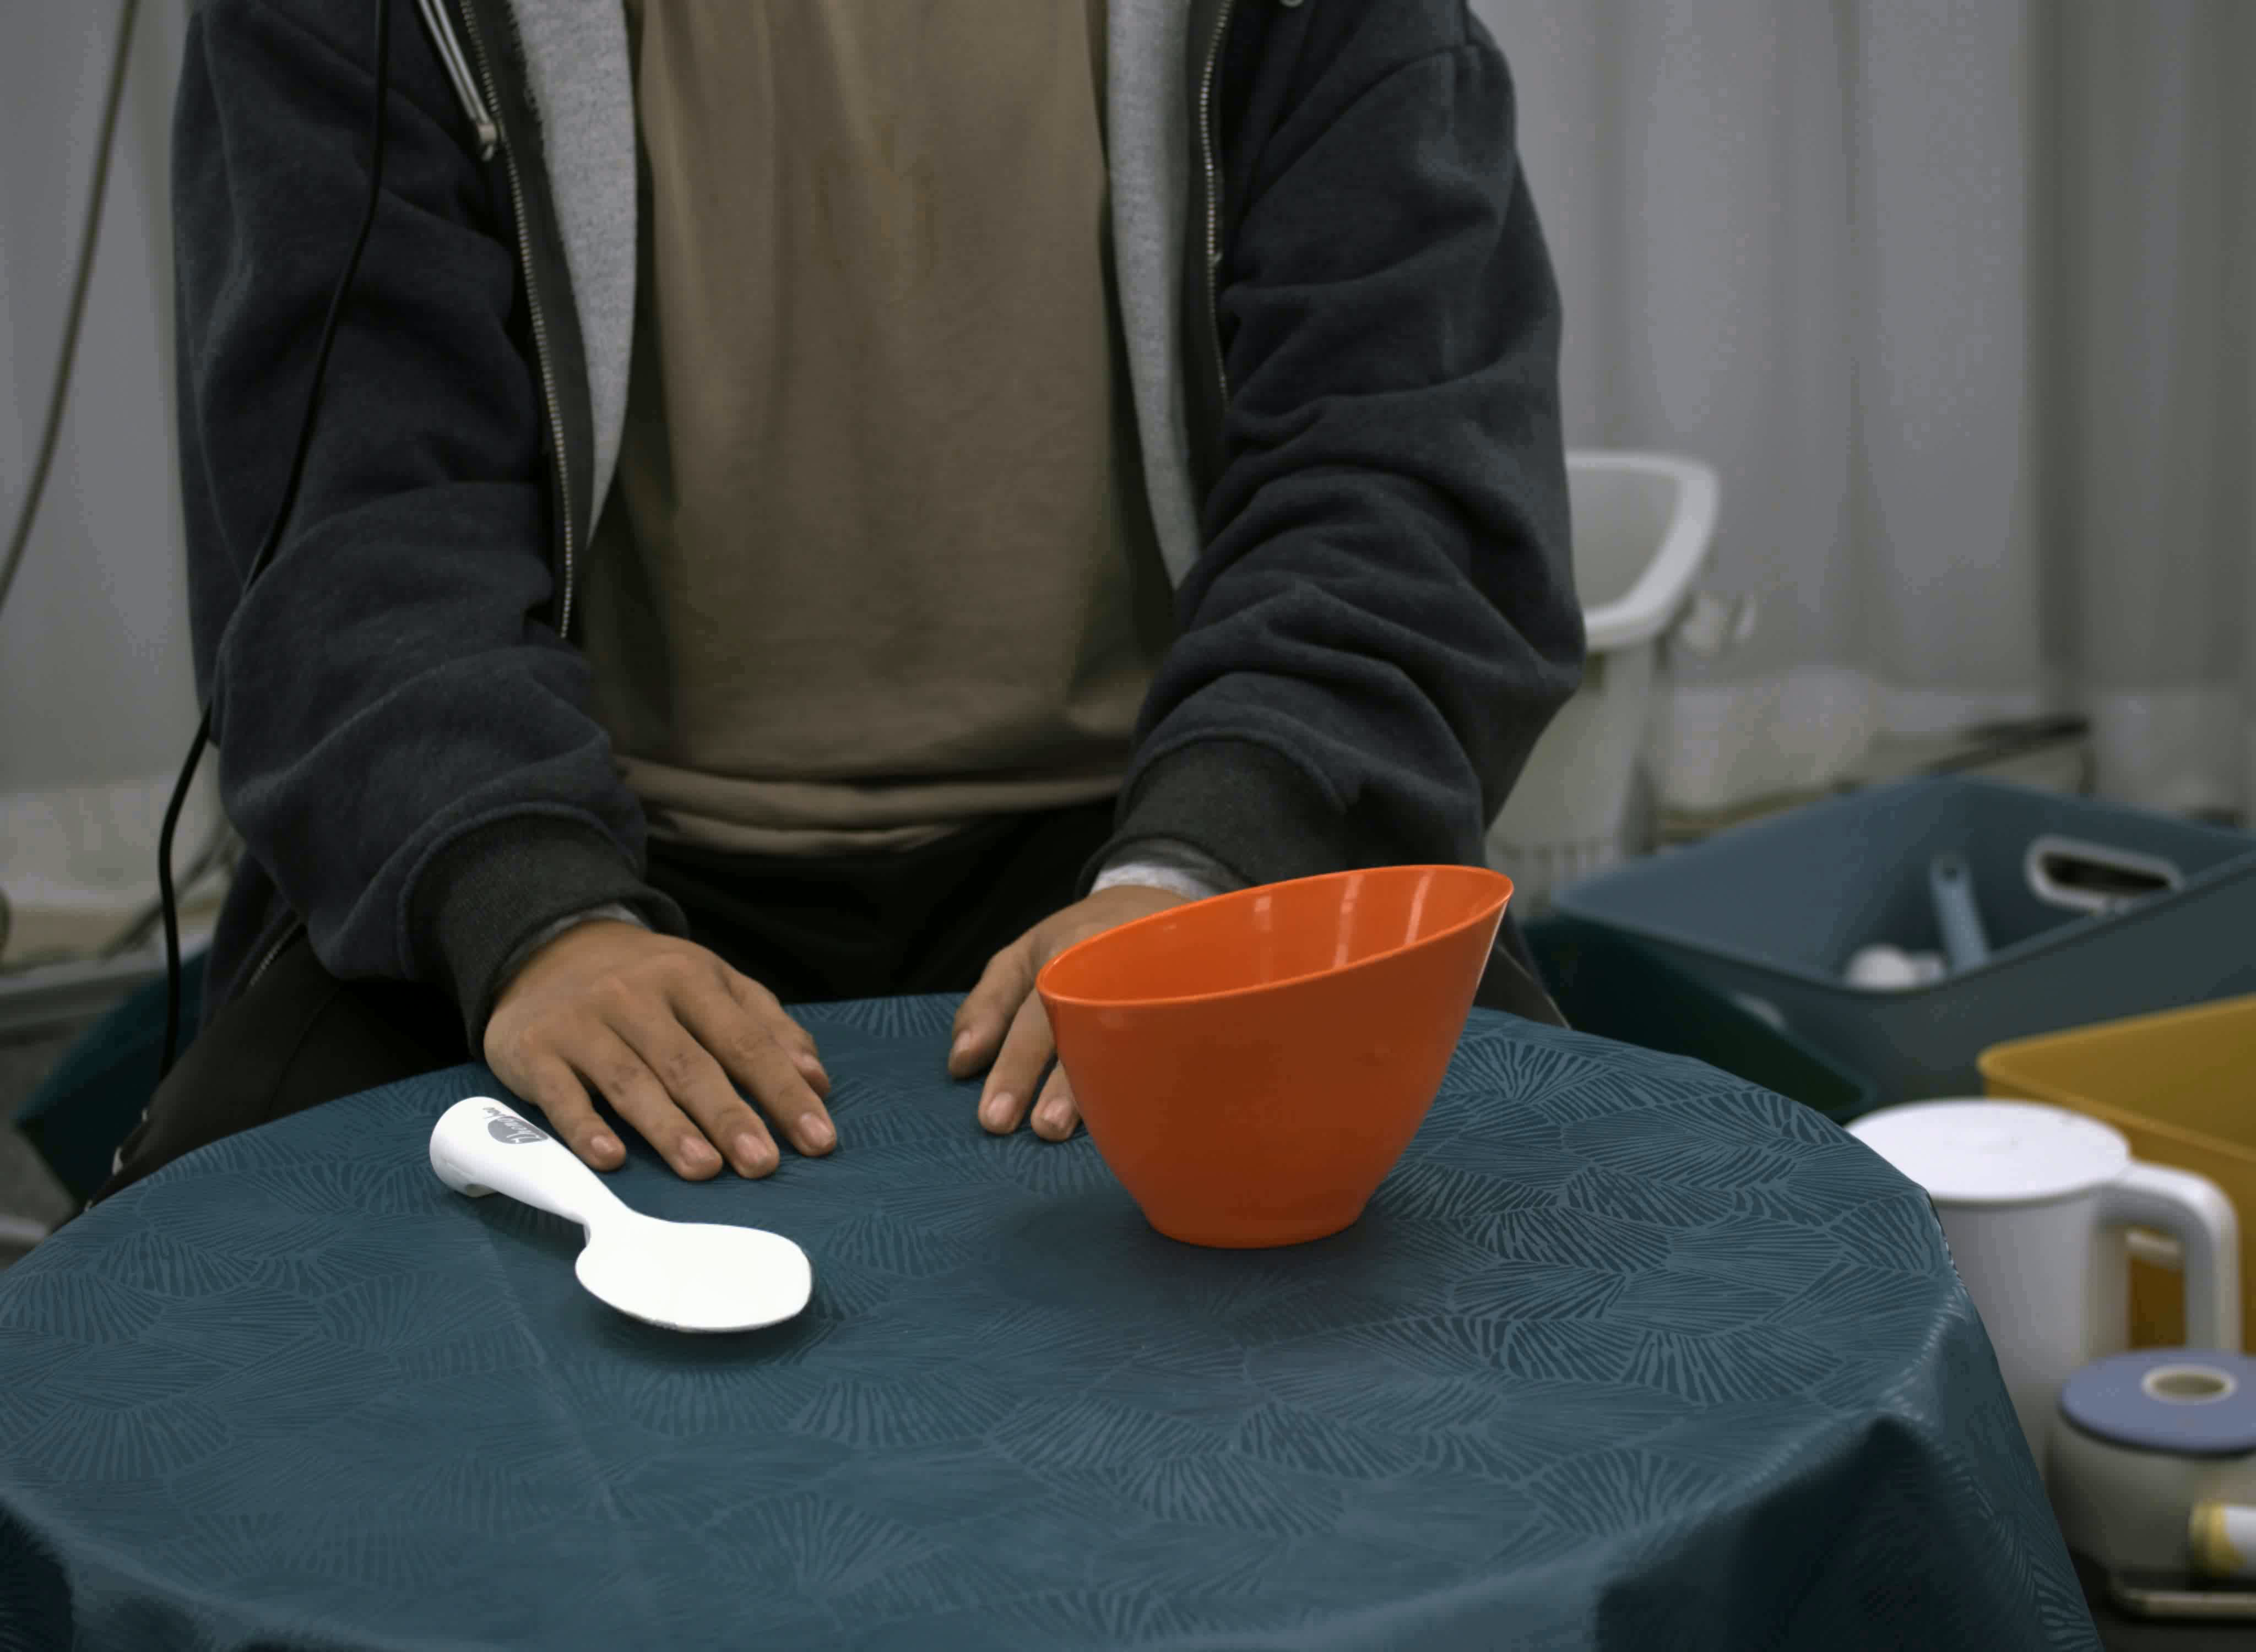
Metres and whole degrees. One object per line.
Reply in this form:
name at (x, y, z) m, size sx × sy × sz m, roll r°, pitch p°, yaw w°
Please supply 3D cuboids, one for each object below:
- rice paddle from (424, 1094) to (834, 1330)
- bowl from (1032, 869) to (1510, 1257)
rice paddle at (-0.156, 0.120, 1.669) m, size 0.068 × 0.029 × 0.207 m, roll -13°, pitch 18°, yaw -30°
bowl at (0.045, 0.073, 1.670) m, size 0.147 × 0.104 × 0.149 m, roll -4°, pitch 14°, yaw 1°
